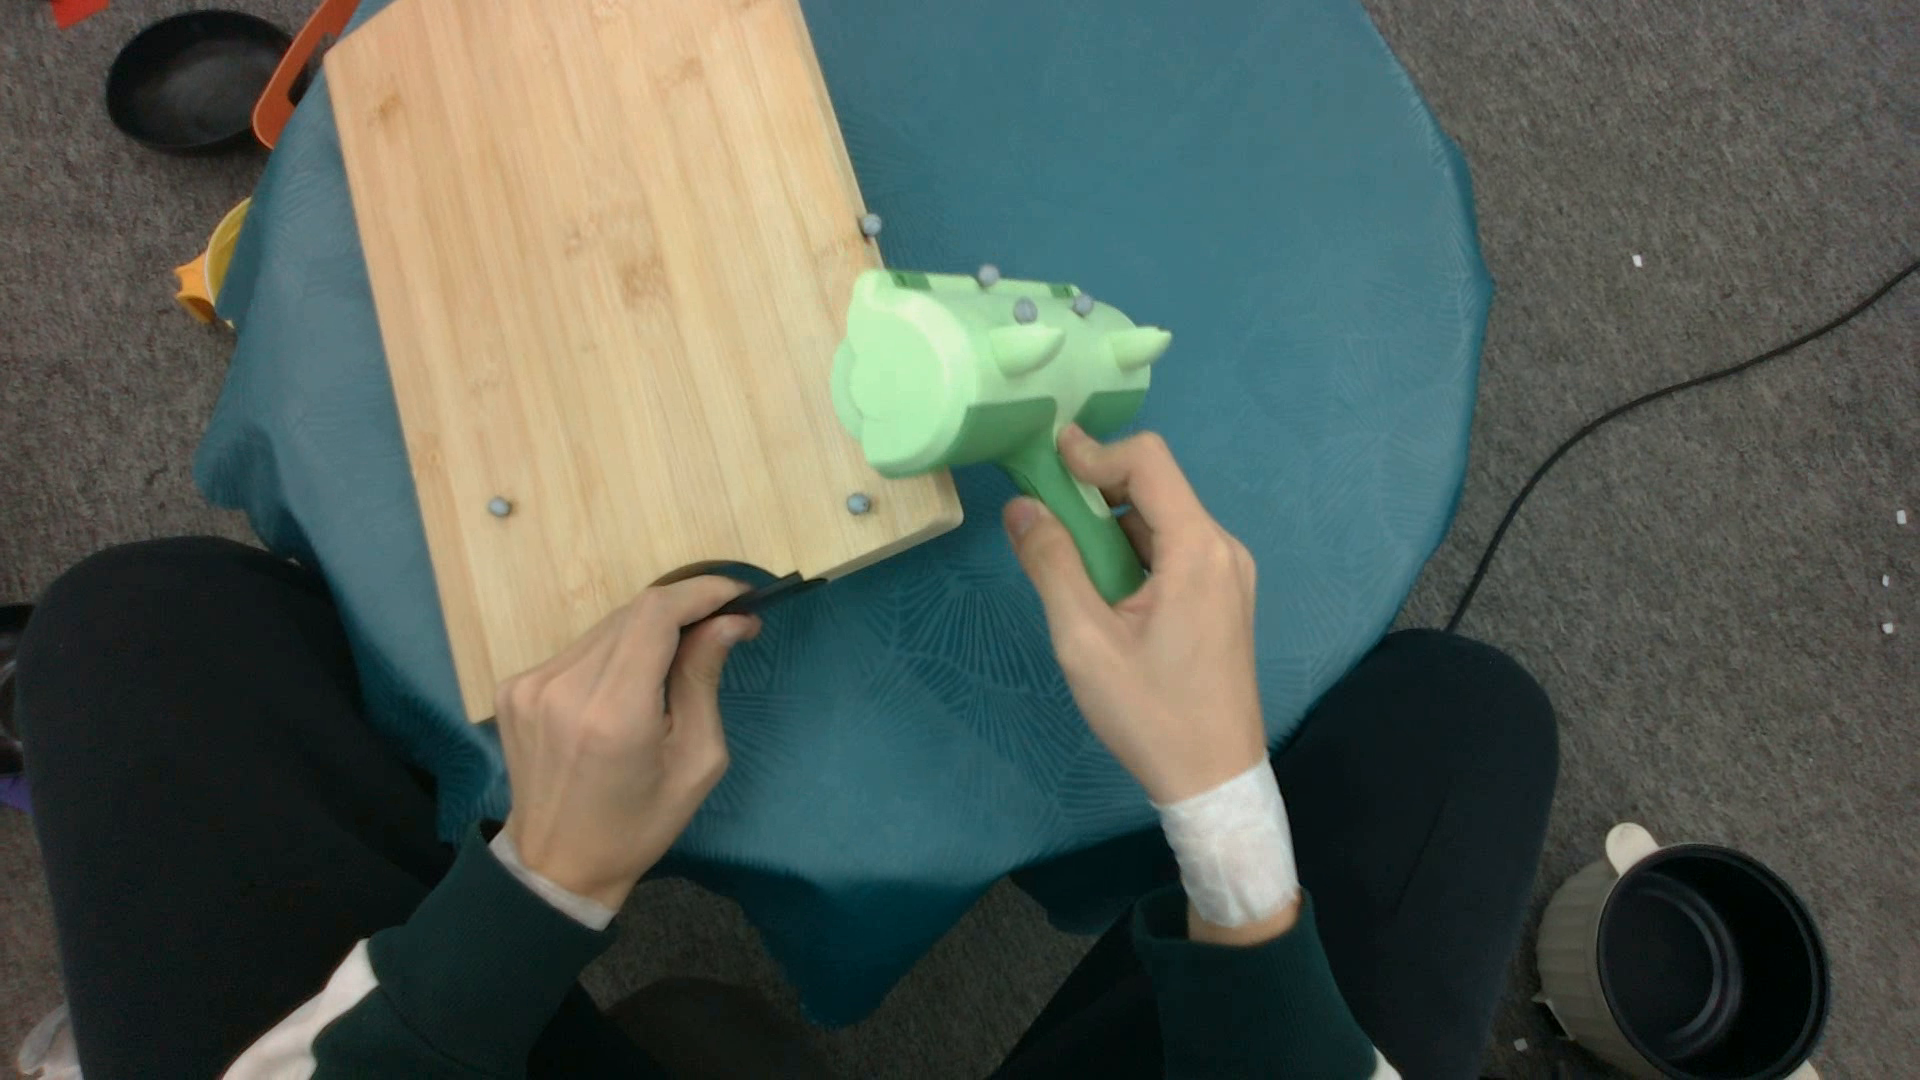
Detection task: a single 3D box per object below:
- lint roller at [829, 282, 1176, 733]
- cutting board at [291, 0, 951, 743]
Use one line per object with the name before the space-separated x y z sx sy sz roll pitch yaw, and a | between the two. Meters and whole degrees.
lint roller | 0.051 -0.020 0.527 0.082 0.199 0.183 -36 82 25
cutting board | -0.161 -0.118 0.588 0.250 0.023 0.349 -25 75 21
